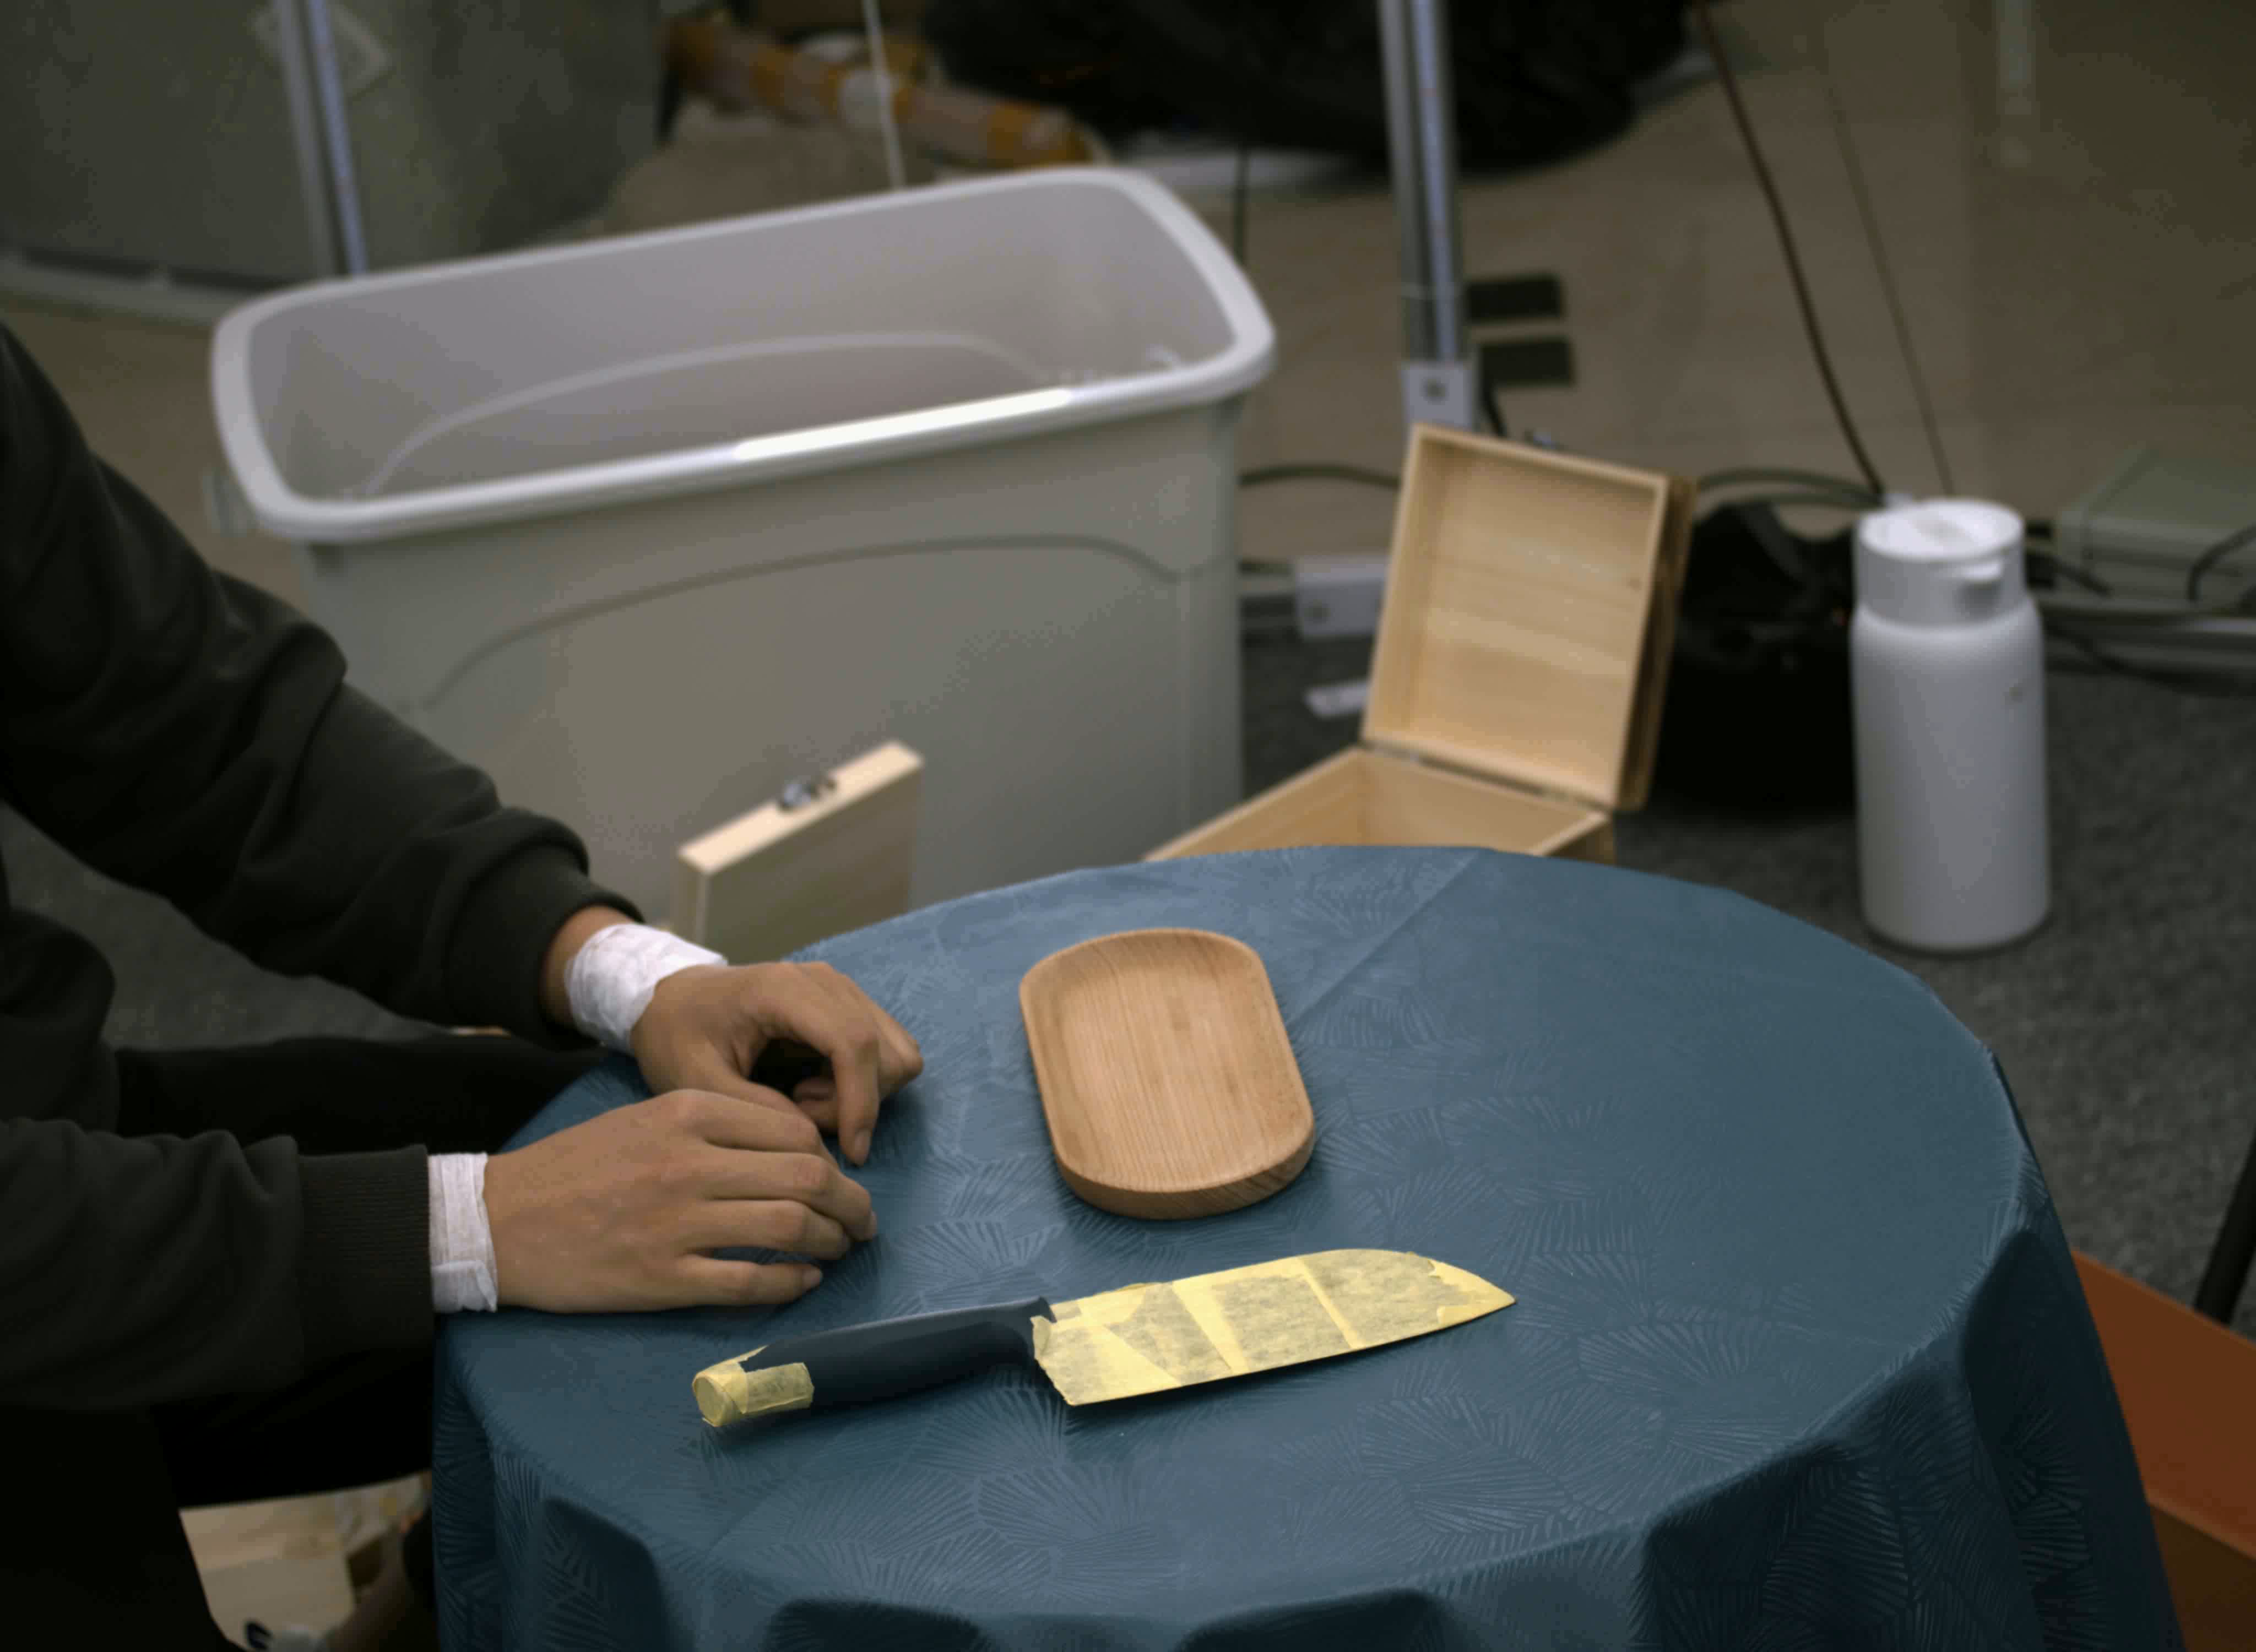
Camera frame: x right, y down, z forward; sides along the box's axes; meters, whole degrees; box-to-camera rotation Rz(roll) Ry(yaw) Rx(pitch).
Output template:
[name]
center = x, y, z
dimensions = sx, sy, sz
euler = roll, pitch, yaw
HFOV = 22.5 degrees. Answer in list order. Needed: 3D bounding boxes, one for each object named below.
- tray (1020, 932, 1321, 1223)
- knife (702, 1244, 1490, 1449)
[tray]
center = 0.015, 0.097, 2.220
dimensions = 0.101, 0.020, 0.228
euler = -10, 26, -4
[knife]
center = -0.009, 0.187, 2.032
dimensions = 0.289, 0.027, 0.080
euler = -11, 23, -11
